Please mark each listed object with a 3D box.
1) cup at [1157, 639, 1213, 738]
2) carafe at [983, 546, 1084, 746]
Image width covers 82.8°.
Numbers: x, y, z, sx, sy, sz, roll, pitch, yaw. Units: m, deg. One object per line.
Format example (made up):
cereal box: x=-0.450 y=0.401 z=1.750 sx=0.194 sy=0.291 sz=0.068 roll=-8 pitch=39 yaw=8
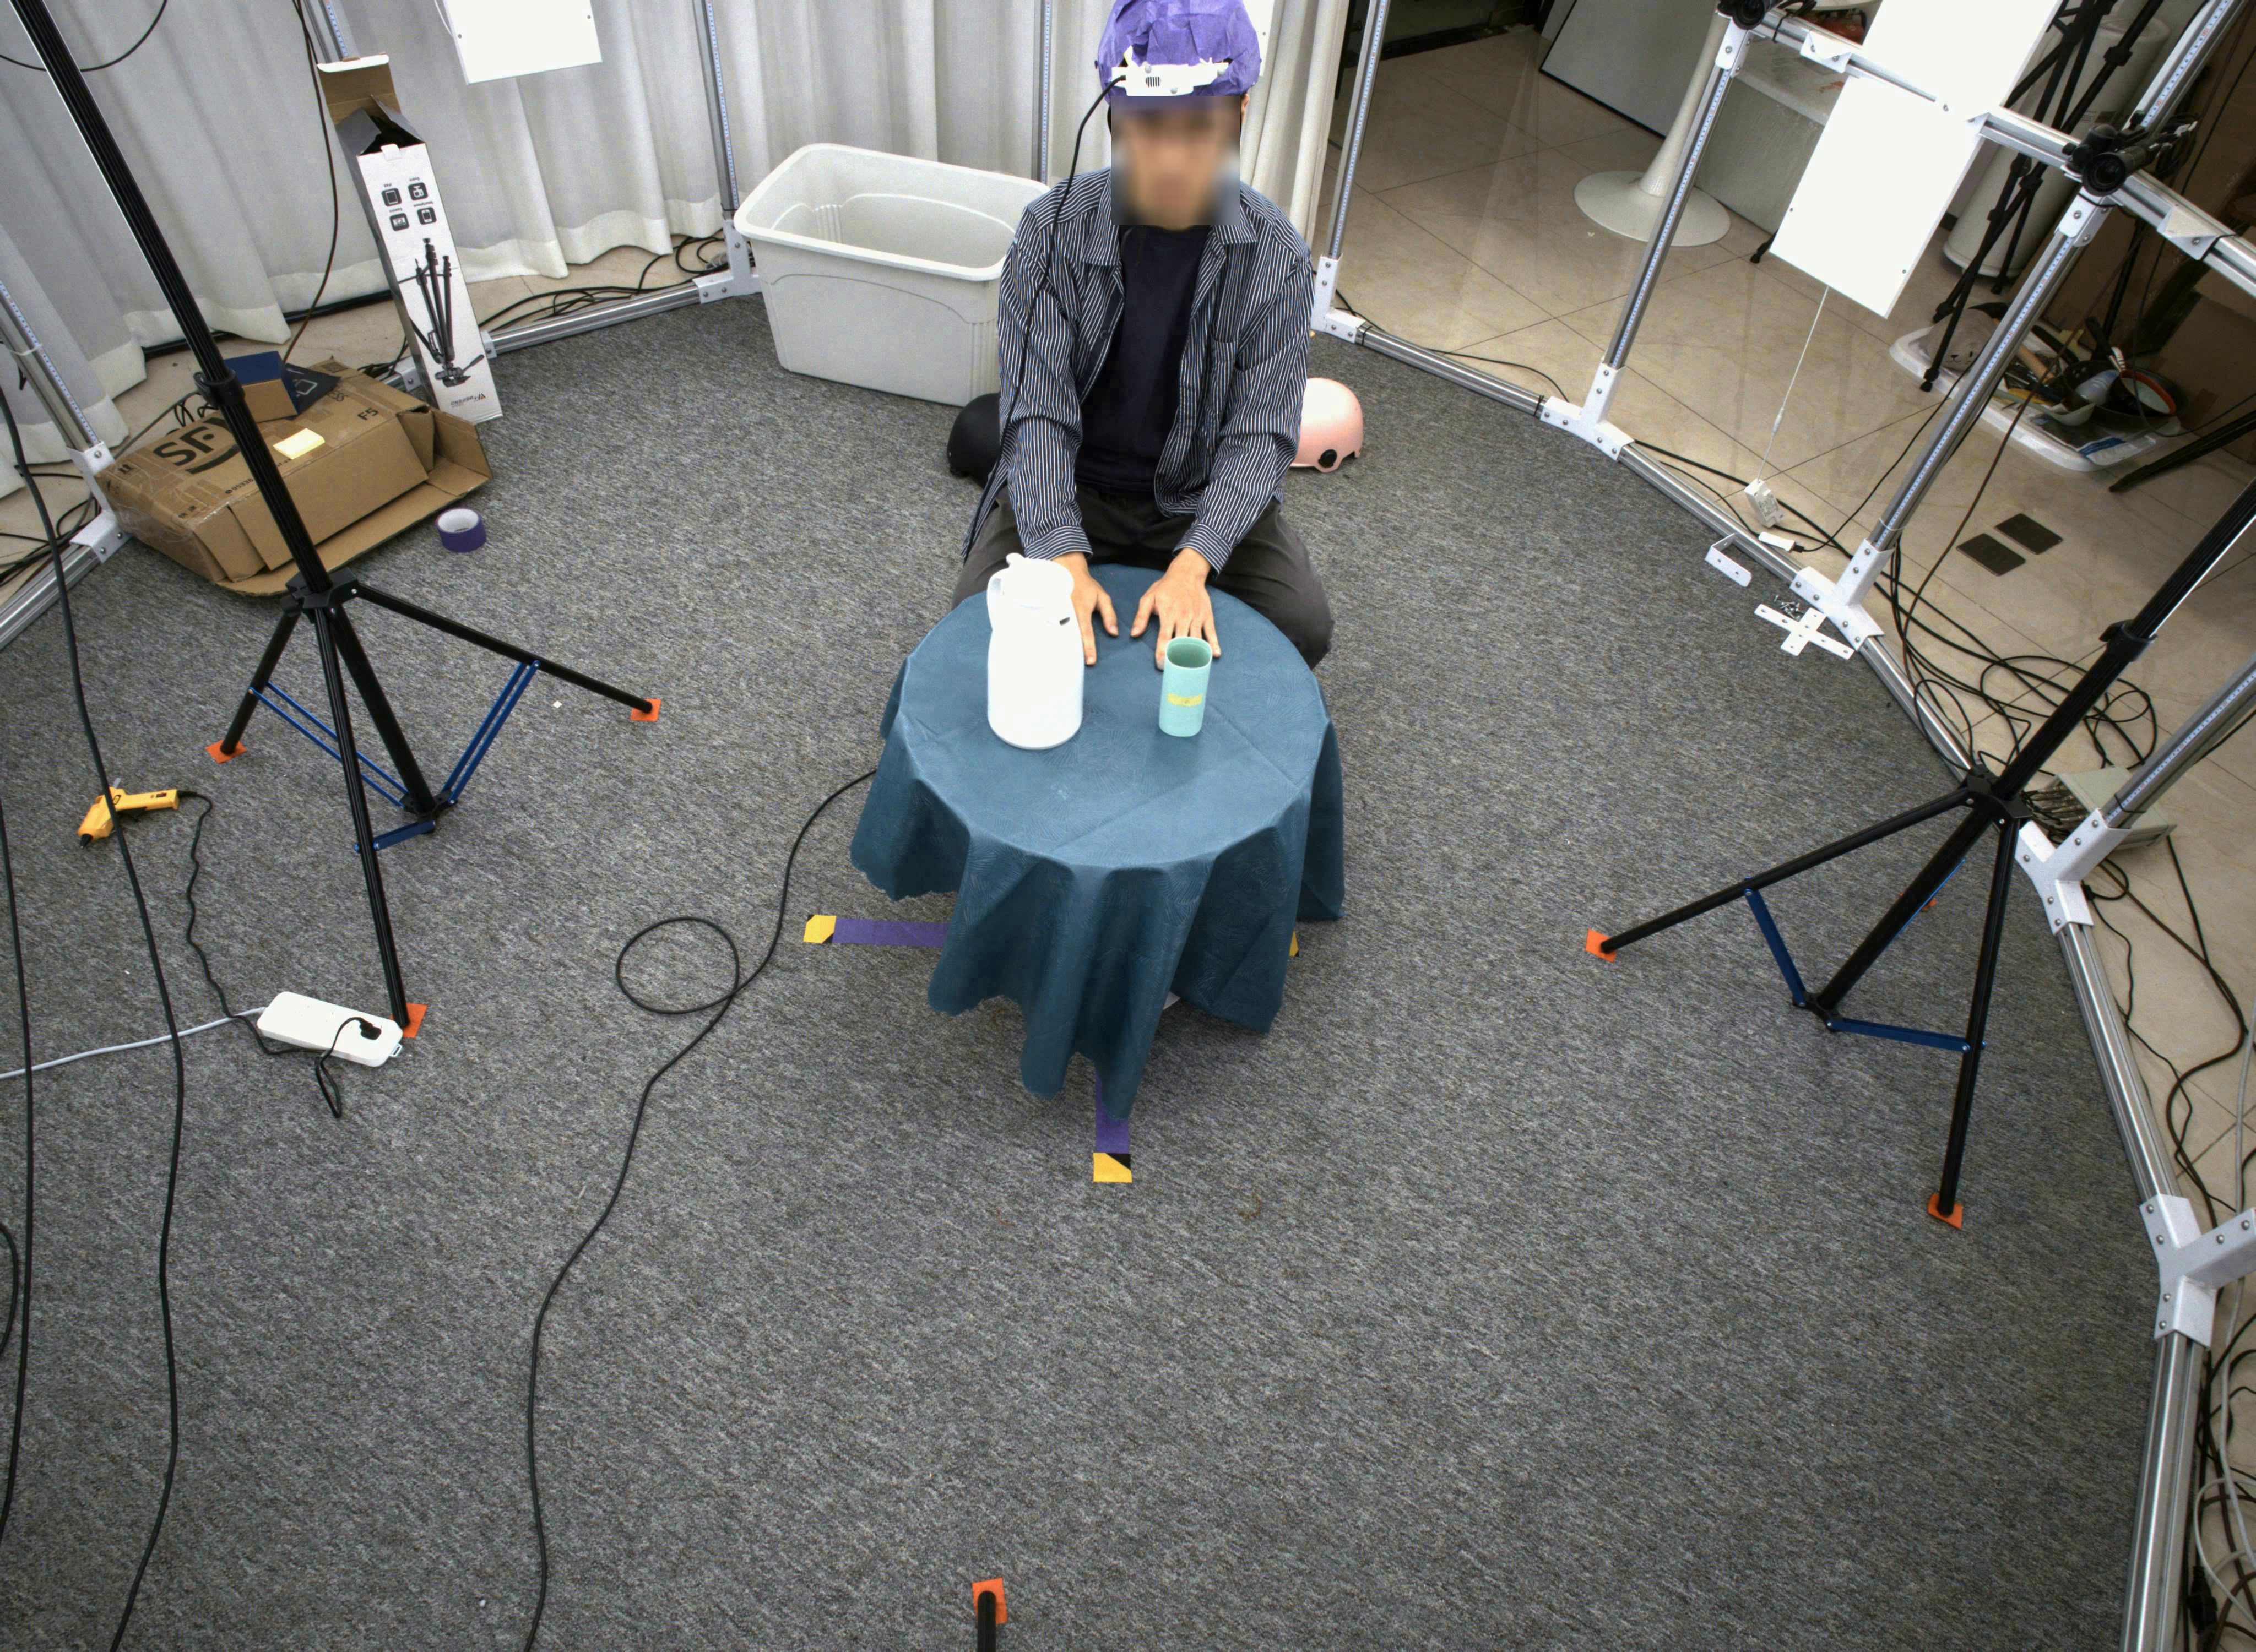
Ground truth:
cup: x=0.076 y=-0.188 z=1.747 sx=0.066 sy=0.129 sz=0.068 roll=3 pitch=51 yaw=-4
carafe: x=-0.134 y=-0.248 z=1.697 sx=0.133 sy=0.242 sz=0.170 roll=-31 pitch=57 yaw=-27
